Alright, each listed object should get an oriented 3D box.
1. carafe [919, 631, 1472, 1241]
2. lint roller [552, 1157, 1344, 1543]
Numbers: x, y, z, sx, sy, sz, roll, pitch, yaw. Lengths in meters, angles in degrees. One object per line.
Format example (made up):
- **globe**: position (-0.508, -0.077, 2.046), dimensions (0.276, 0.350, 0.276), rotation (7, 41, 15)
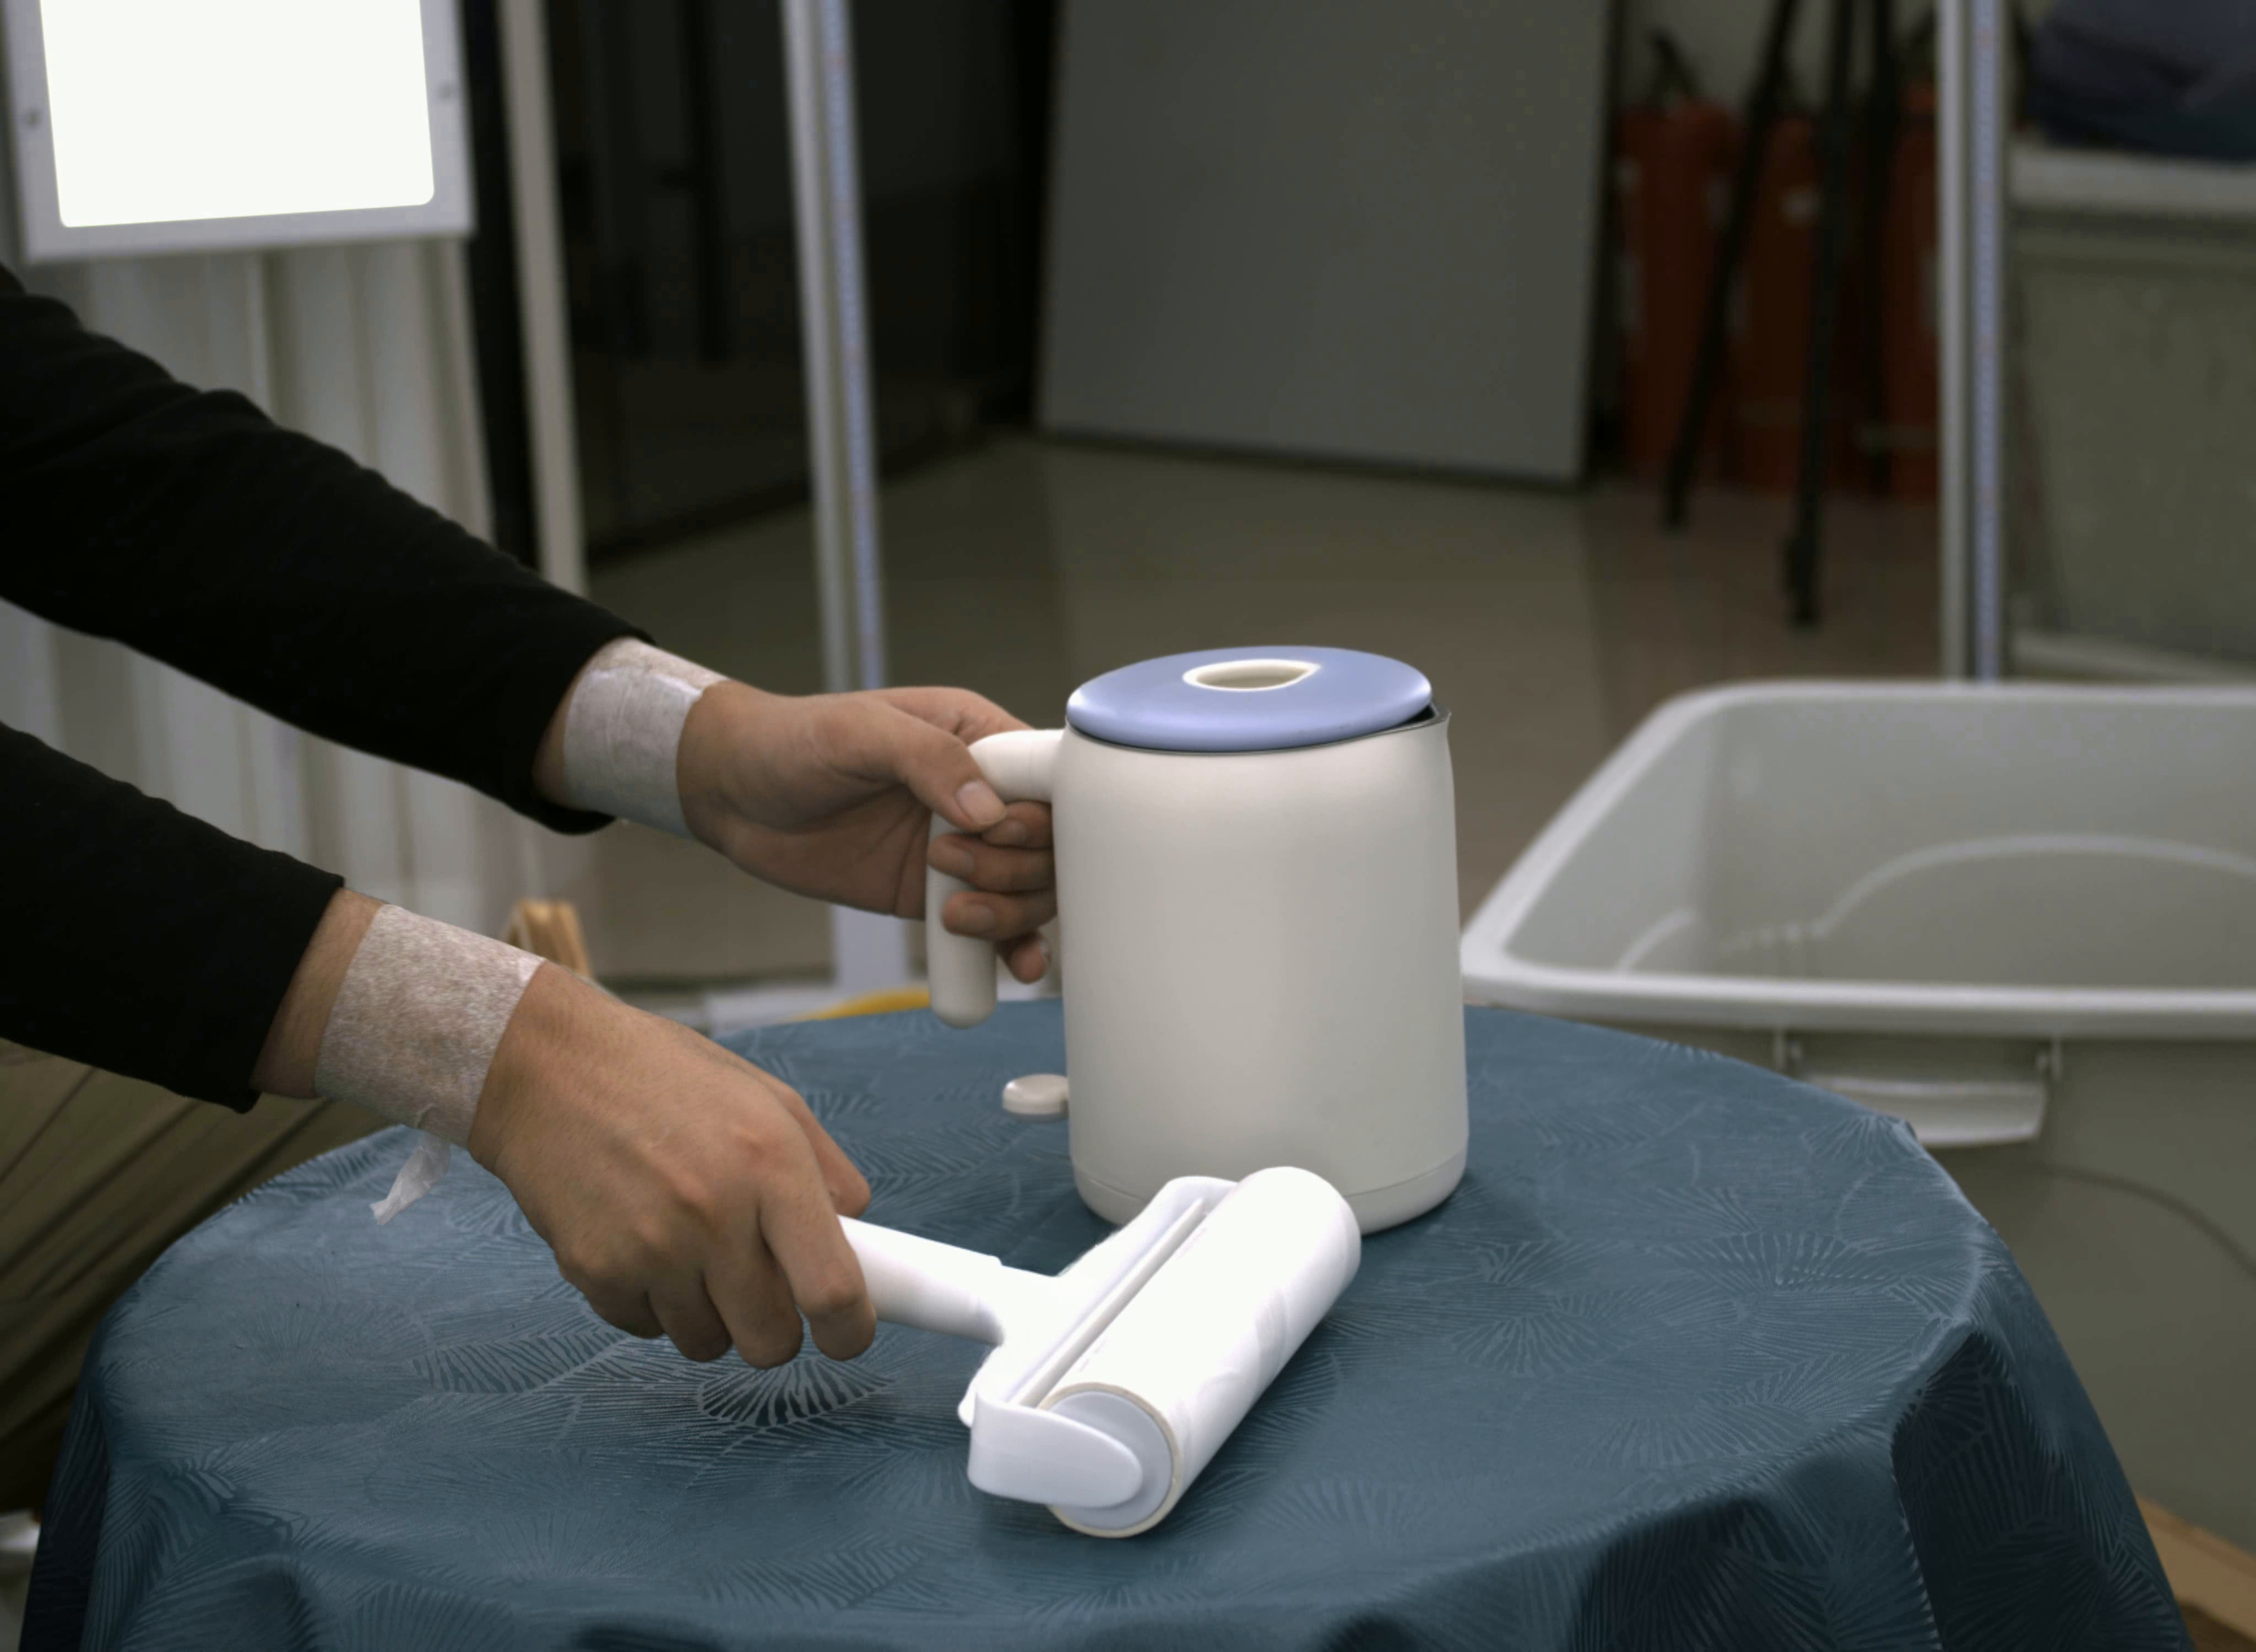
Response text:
- **carafe**: position (0.020, 0.036, 1.748), dimensions (0.191, 0.184, 0.131), rotation (0, 13, 23)
- **lint roller**: position (-0.064, 0.131, 1.577), dimensions (0.225, 0.049, 0.201), rotation (12, 19, 15)
